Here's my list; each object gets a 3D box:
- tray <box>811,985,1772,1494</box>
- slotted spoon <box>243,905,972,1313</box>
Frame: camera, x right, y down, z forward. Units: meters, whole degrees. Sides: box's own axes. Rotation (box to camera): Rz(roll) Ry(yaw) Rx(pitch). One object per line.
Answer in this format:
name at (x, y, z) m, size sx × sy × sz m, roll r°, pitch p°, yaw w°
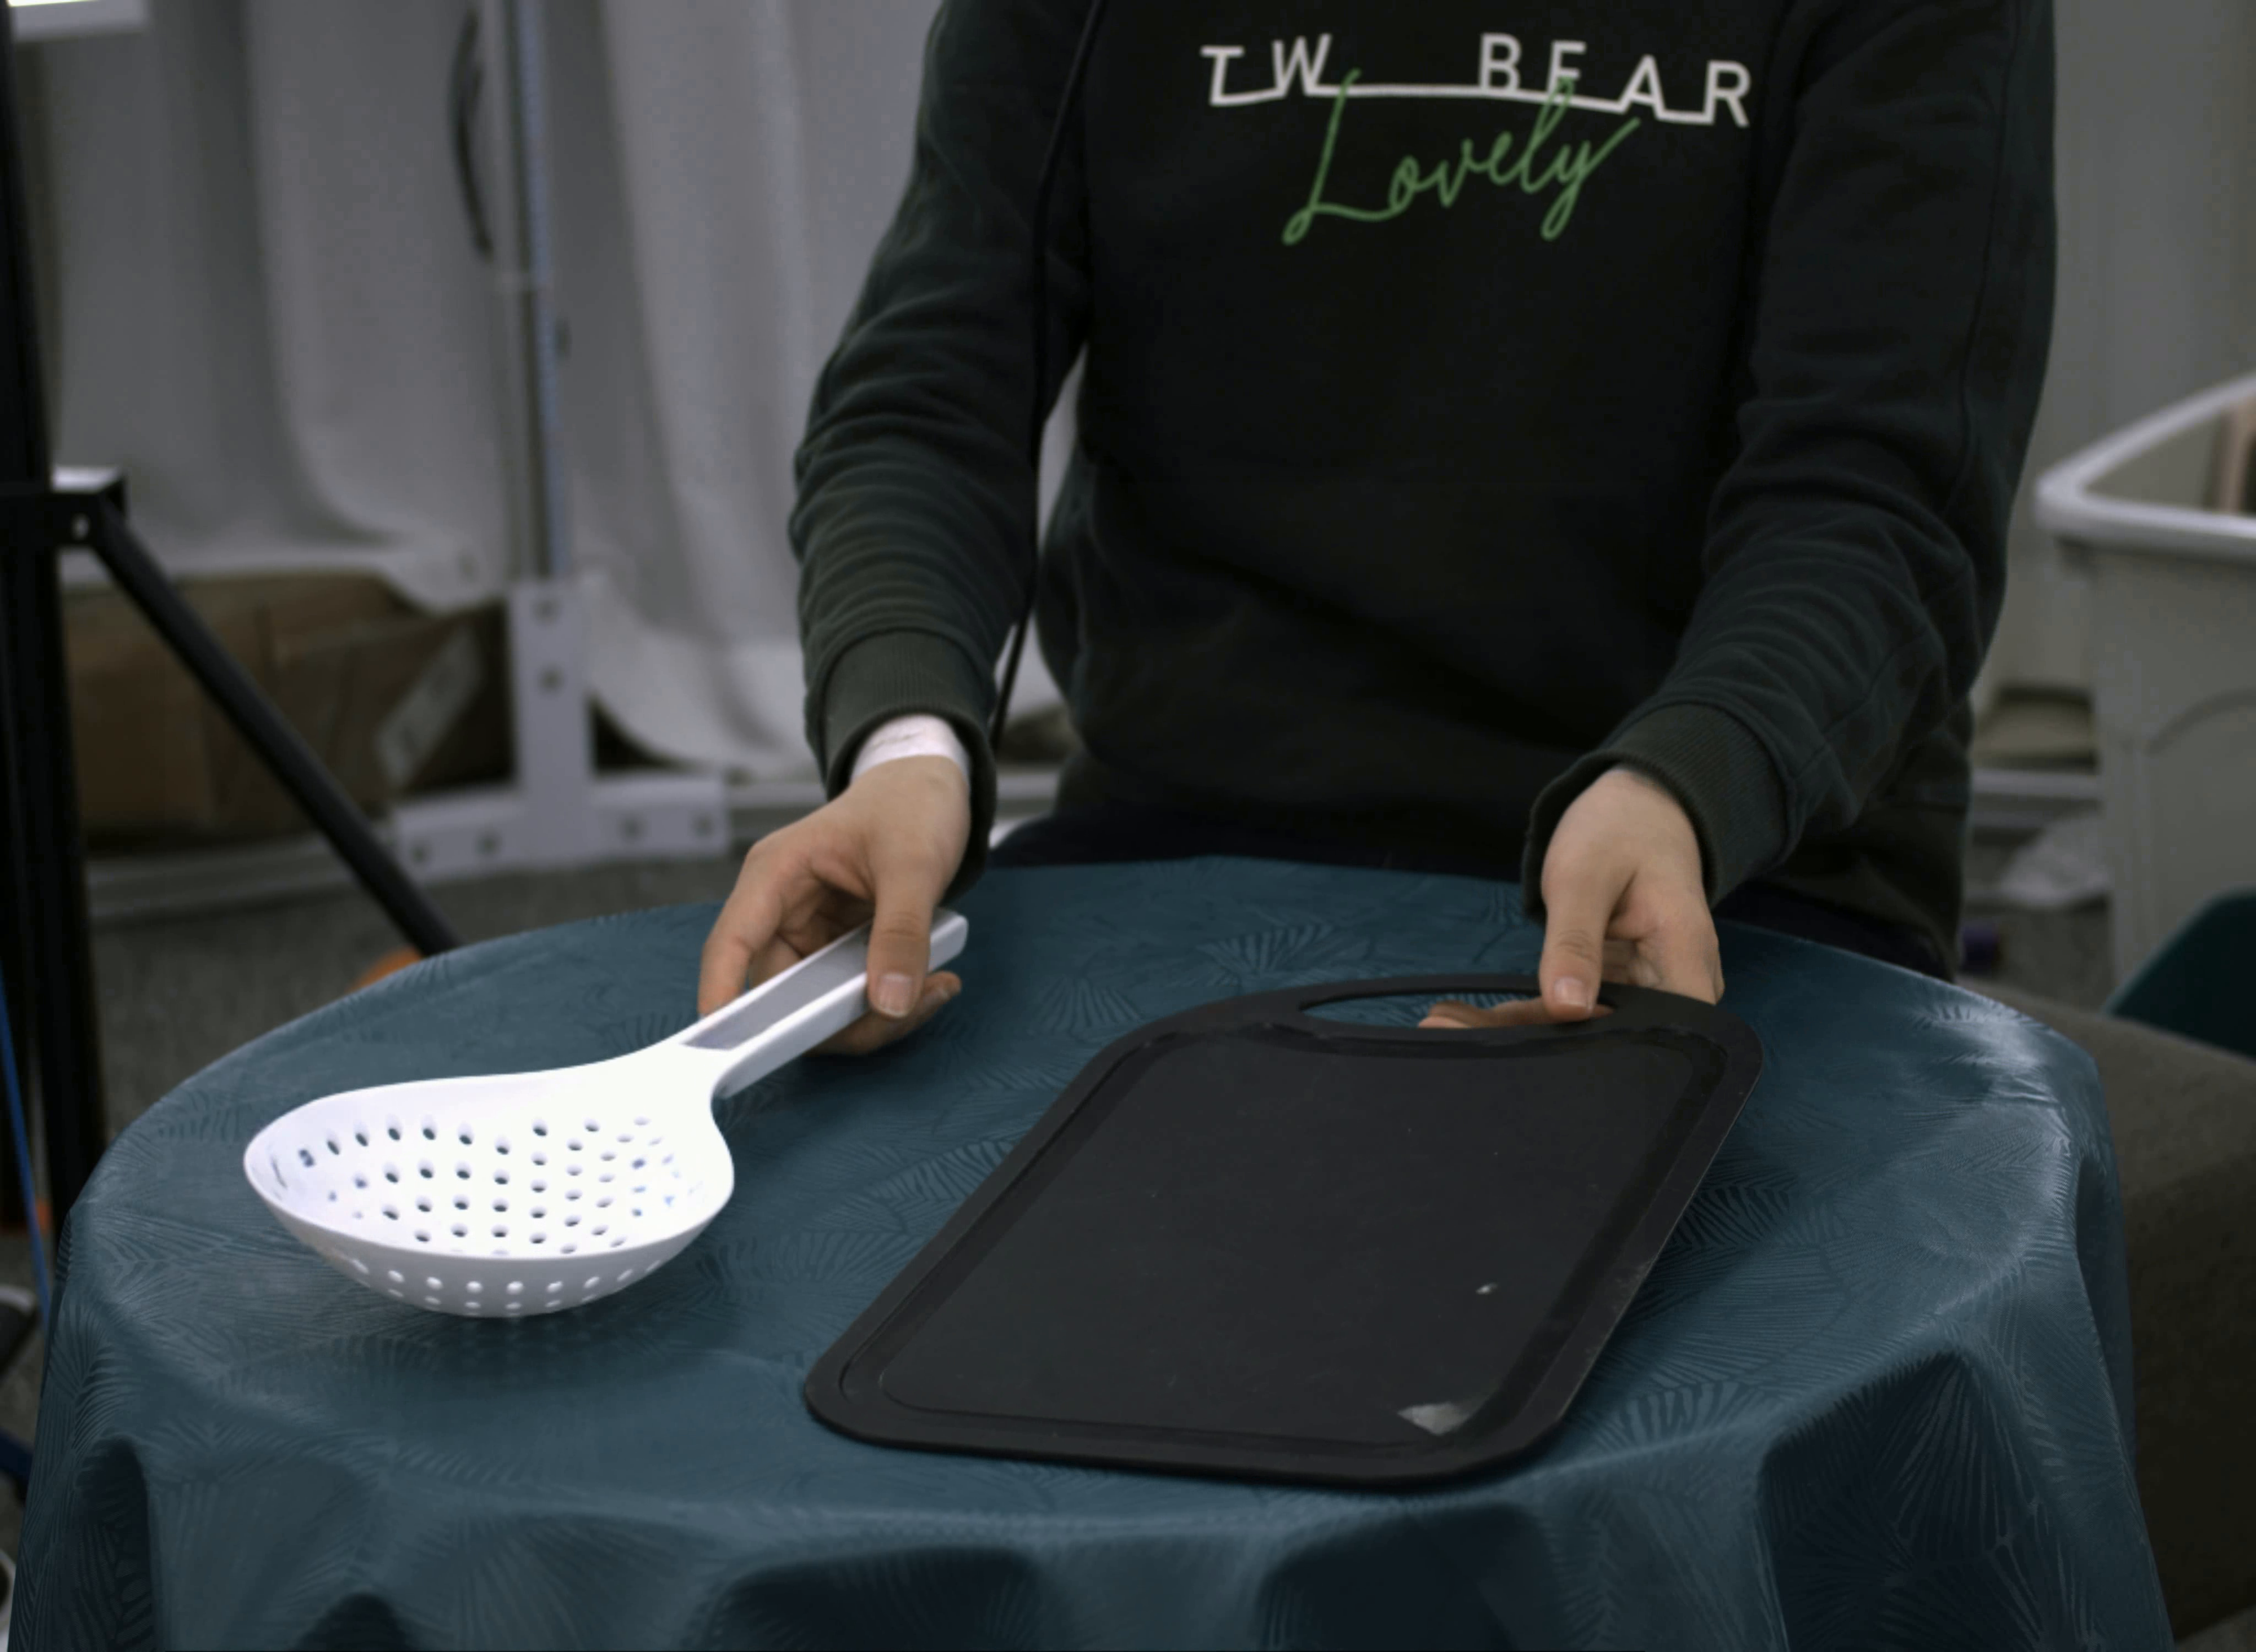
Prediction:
tray at (0.055, 0.106, 1.489) m, size 0.214 × 0.010 × 0.322 m, roll 2°, pitch 21°, yaw 22°
slotted spoon at (-0.135, 0.075, 1.584) m, size 0.138 × 0.046 × 0.345 m, roll 12°, pitch 24°, yaw 23°
